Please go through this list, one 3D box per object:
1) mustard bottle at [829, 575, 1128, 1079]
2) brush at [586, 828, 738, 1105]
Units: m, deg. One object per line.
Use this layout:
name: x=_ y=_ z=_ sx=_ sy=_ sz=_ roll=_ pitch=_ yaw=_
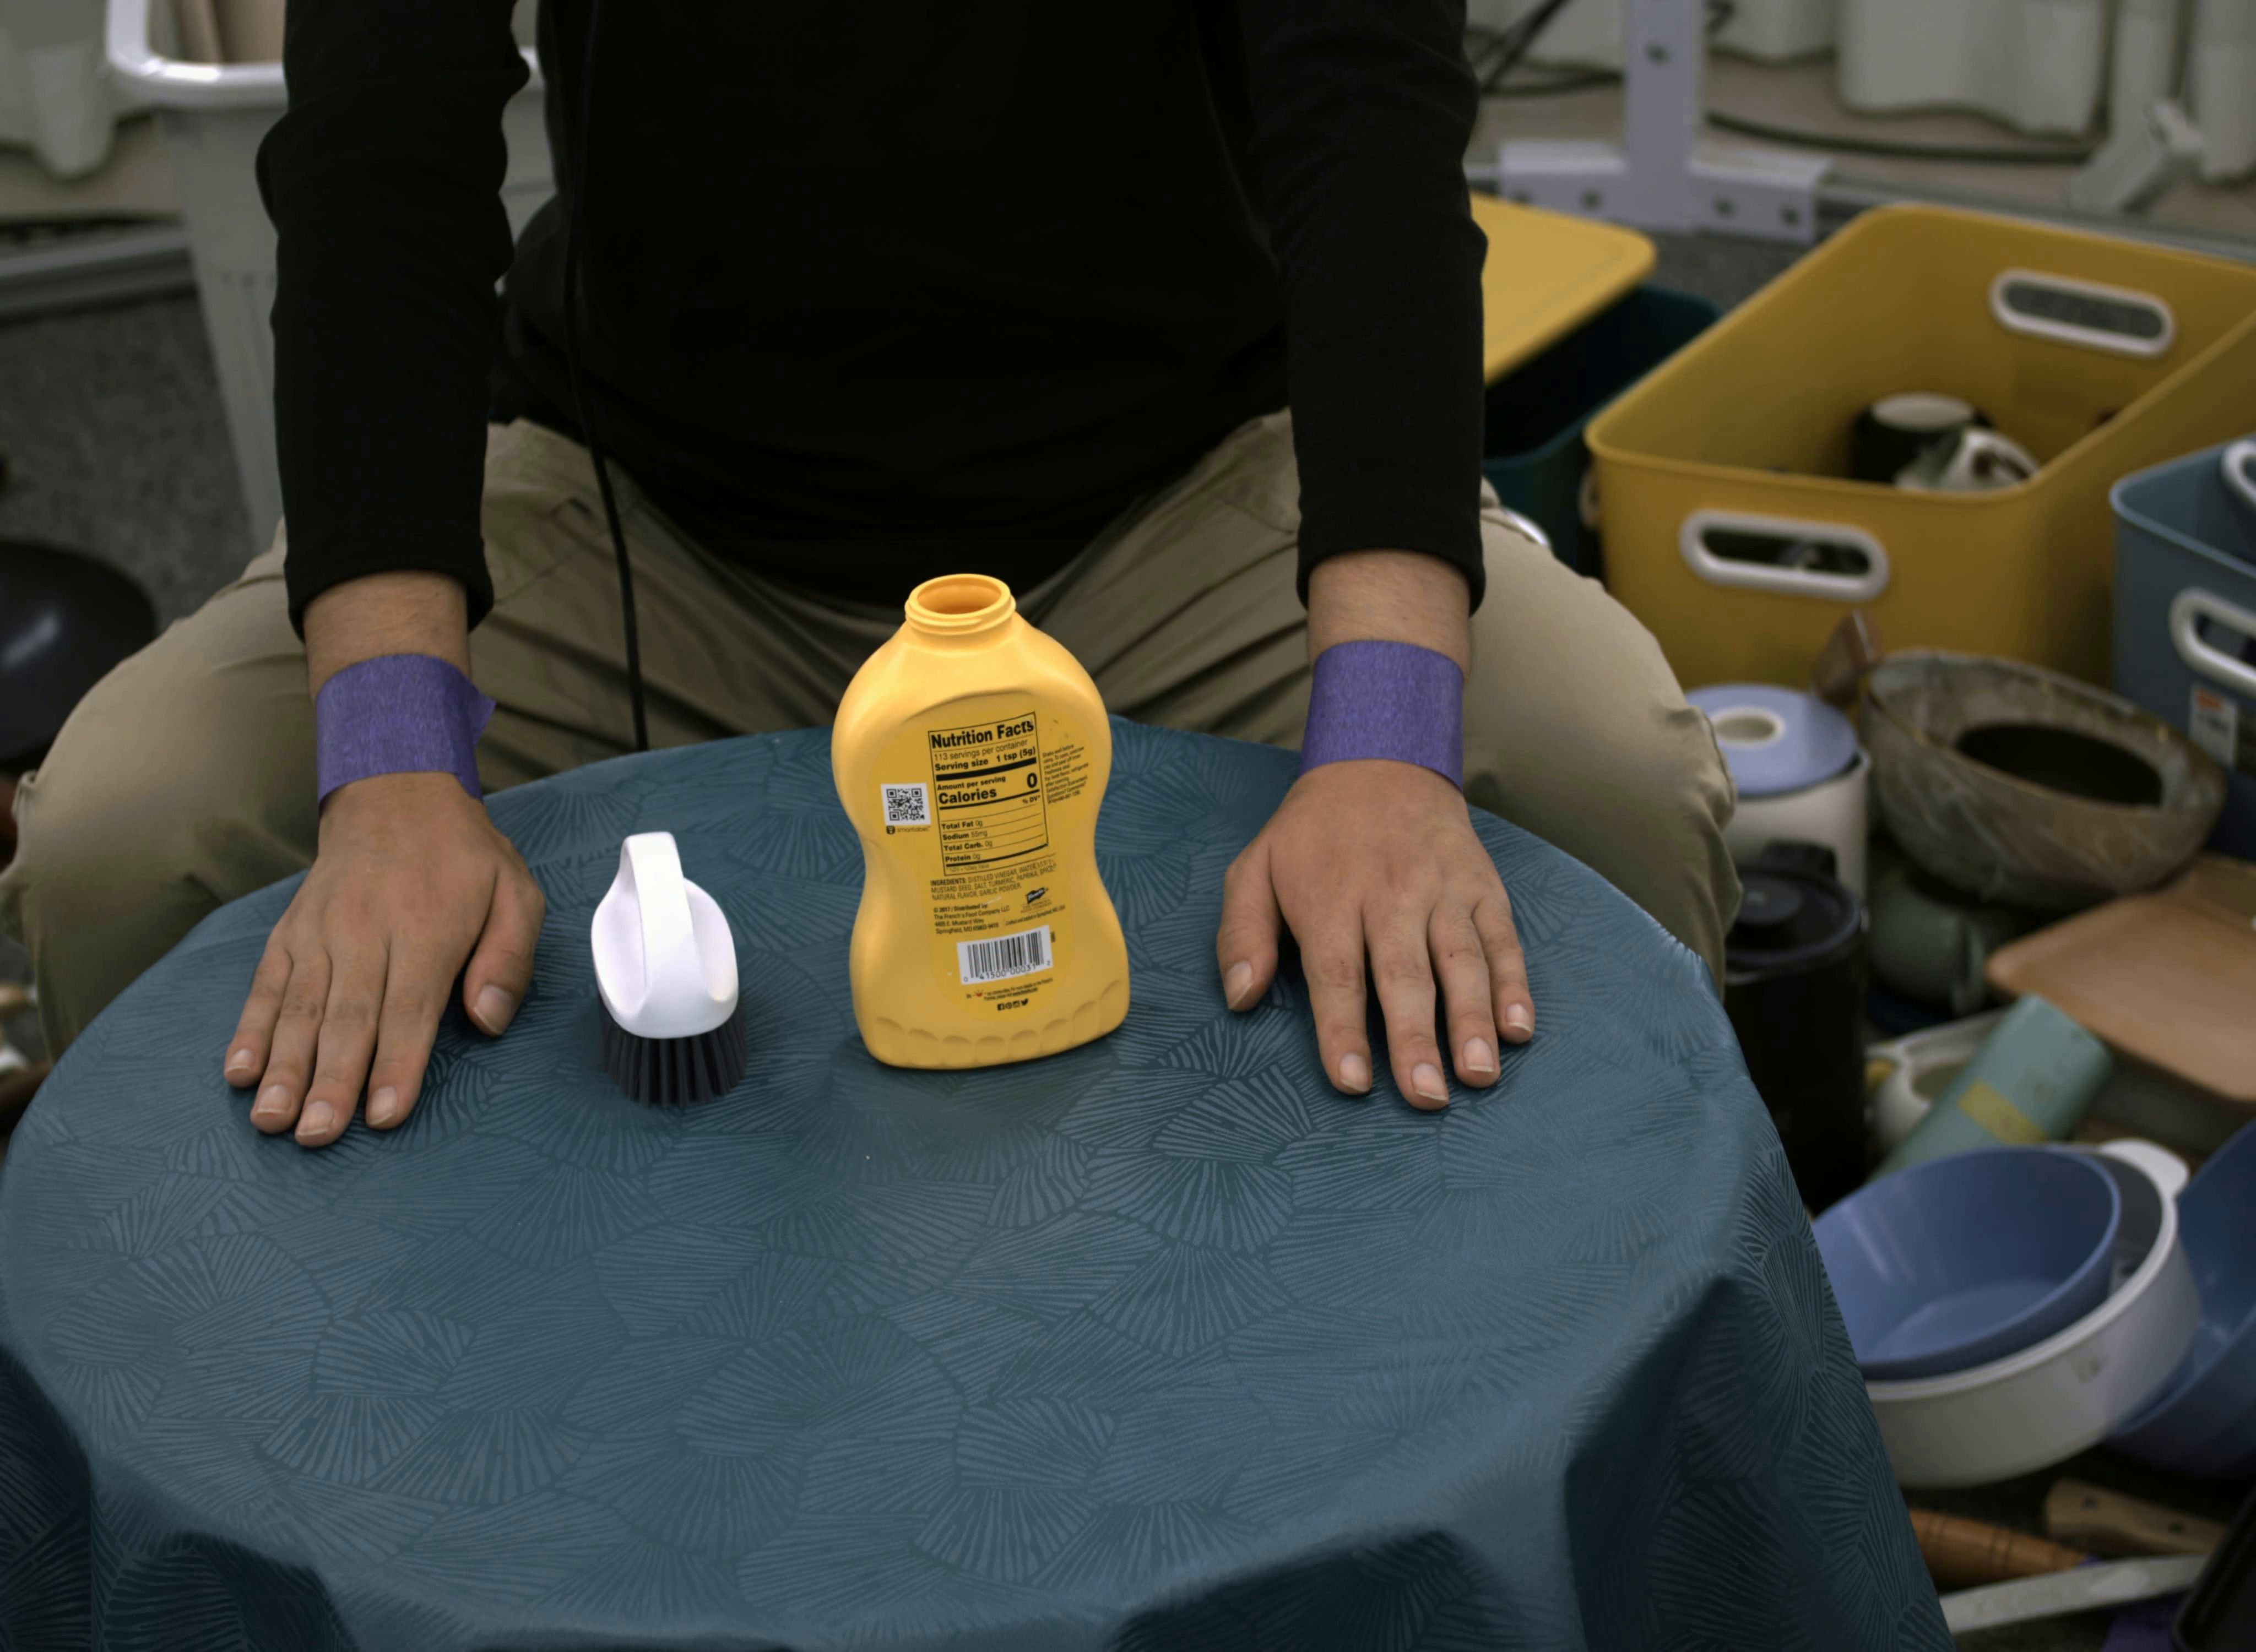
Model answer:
mustard bottle: x=-0.053 y=-0.001 z=1.923 sx=0.098 sy=0.170 sz=0.060 roll=-11 pitch=24 yaw=-12
brush: x=-0.163 y=0.042 z=1.951 sx=0.050 sy=0.071 sz=0.100 roll=-5 pitch=28 yaw=-7
